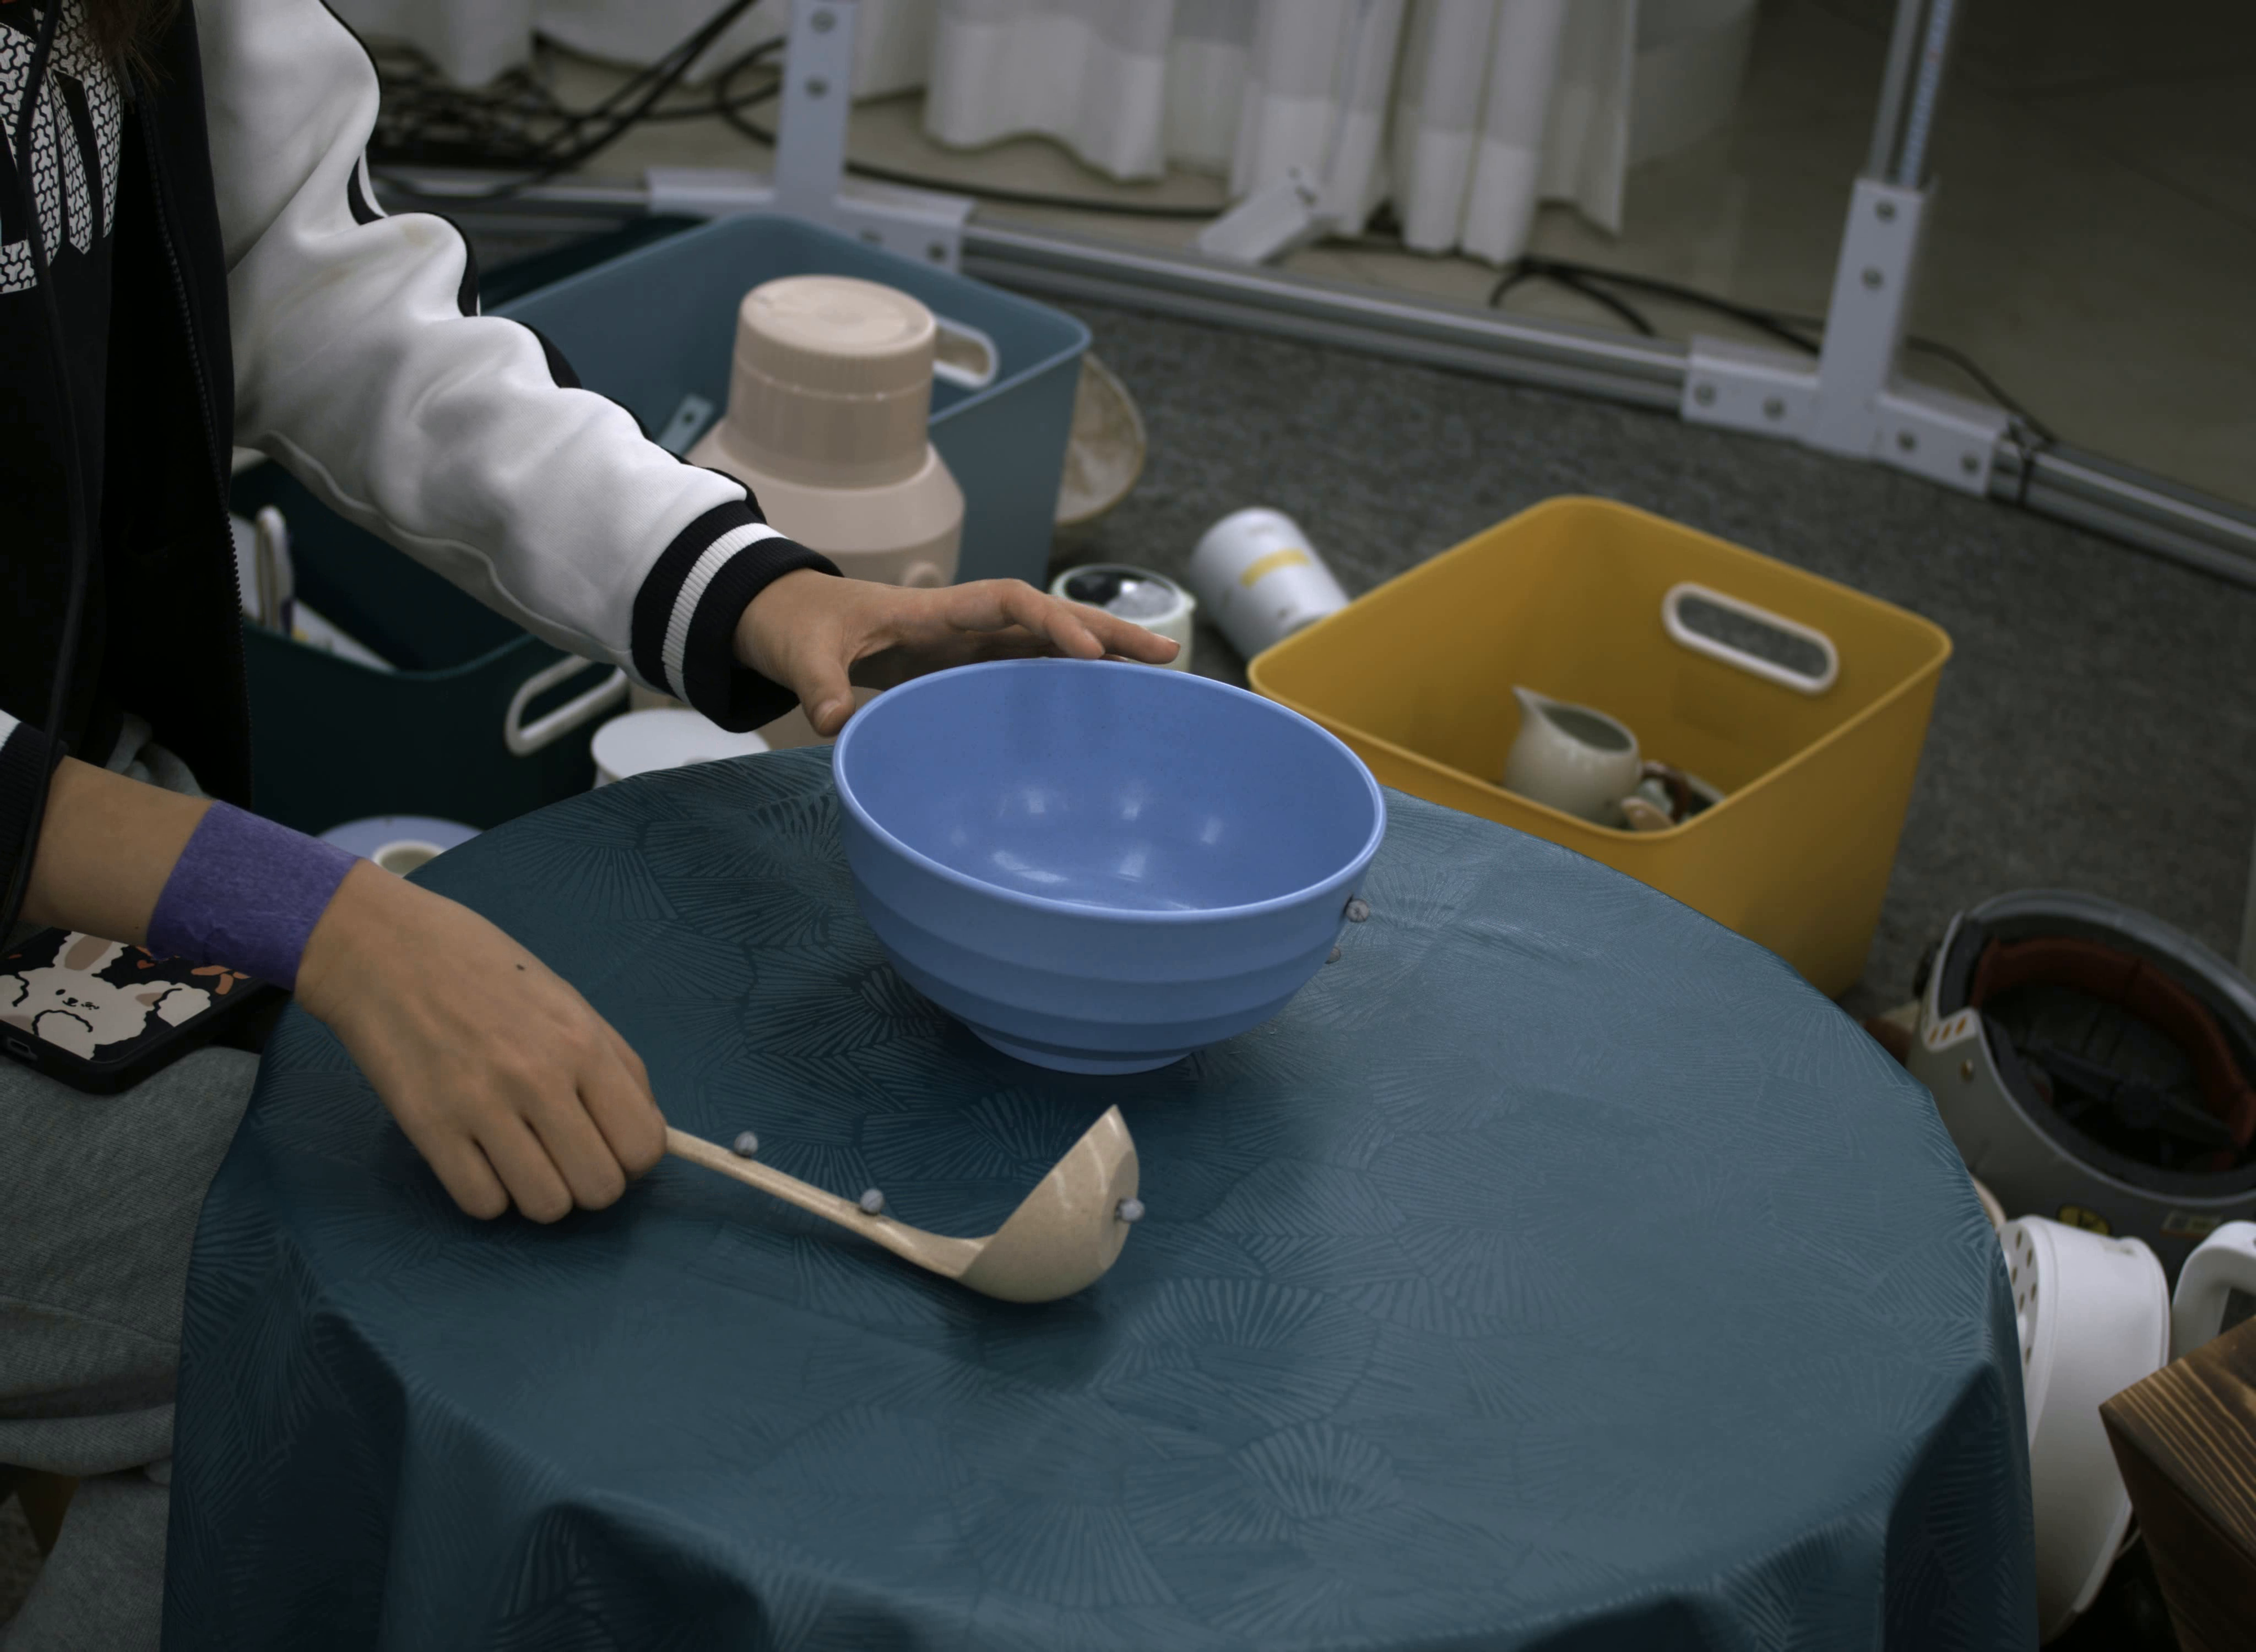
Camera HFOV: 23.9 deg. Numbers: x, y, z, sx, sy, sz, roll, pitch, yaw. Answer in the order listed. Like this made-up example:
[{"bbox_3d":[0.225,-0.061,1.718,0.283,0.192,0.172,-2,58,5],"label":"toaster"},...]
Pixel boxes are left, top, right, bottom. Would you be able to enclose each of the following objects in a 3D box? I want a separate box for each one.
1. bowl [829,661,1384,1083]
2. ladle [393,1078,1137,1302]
[{"bbox_3d":[-0.011,0.028,1.891,0.196,0.095,0.198,4,28,-3],"label":"bowl"},{"bbox_3d":[-0.121,0.092,1.746,0.255,0.072,0.072,17,21,13],"label":"ladle"}]
